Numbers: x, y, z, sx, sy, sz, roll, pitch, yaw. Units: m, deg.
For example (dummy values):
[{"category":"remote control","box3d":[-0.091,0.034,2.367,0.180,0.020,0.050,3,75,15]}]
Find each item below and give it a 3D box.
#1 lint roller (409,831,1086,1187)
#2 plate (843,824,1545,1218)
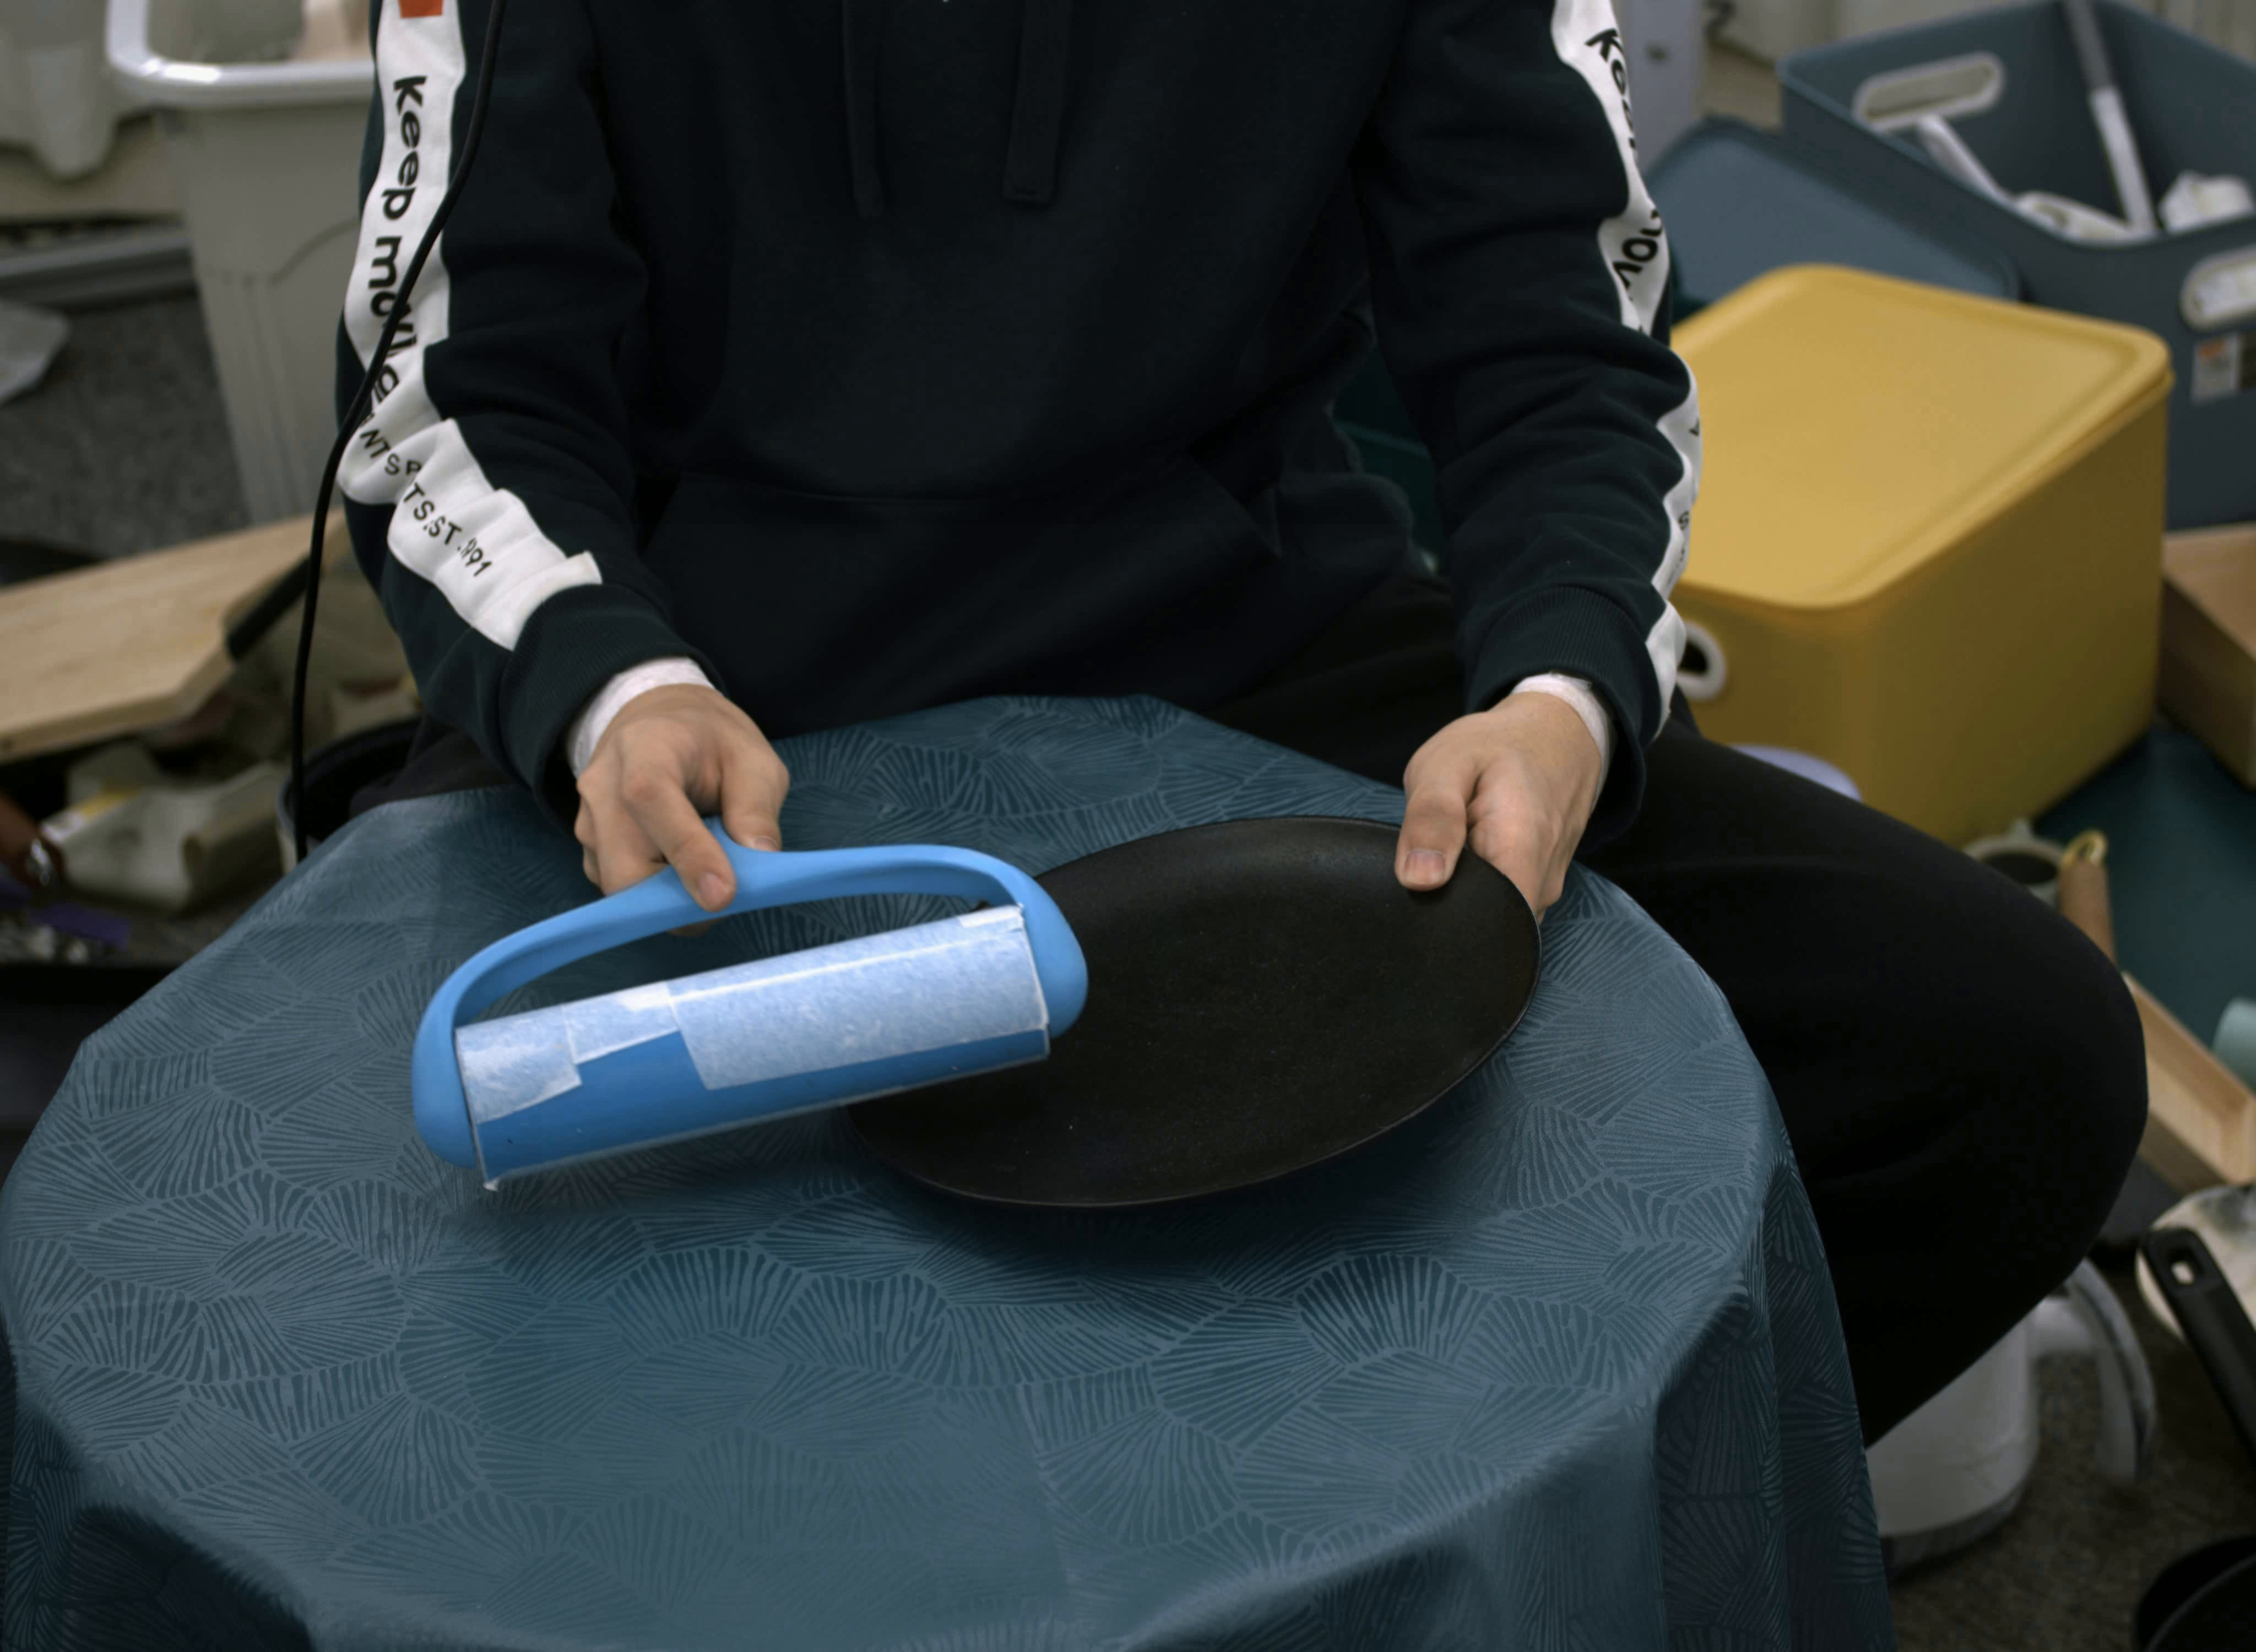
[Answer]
[{"category":"lint roller","box3d":[-0.141,0.040,1.914,0.229,0.067,0.182,-15,35,-10]},{"category":"plate","box3d":[0.023,0.070,1.903,0.243,0.023,0.248,-10,28,6]}]
